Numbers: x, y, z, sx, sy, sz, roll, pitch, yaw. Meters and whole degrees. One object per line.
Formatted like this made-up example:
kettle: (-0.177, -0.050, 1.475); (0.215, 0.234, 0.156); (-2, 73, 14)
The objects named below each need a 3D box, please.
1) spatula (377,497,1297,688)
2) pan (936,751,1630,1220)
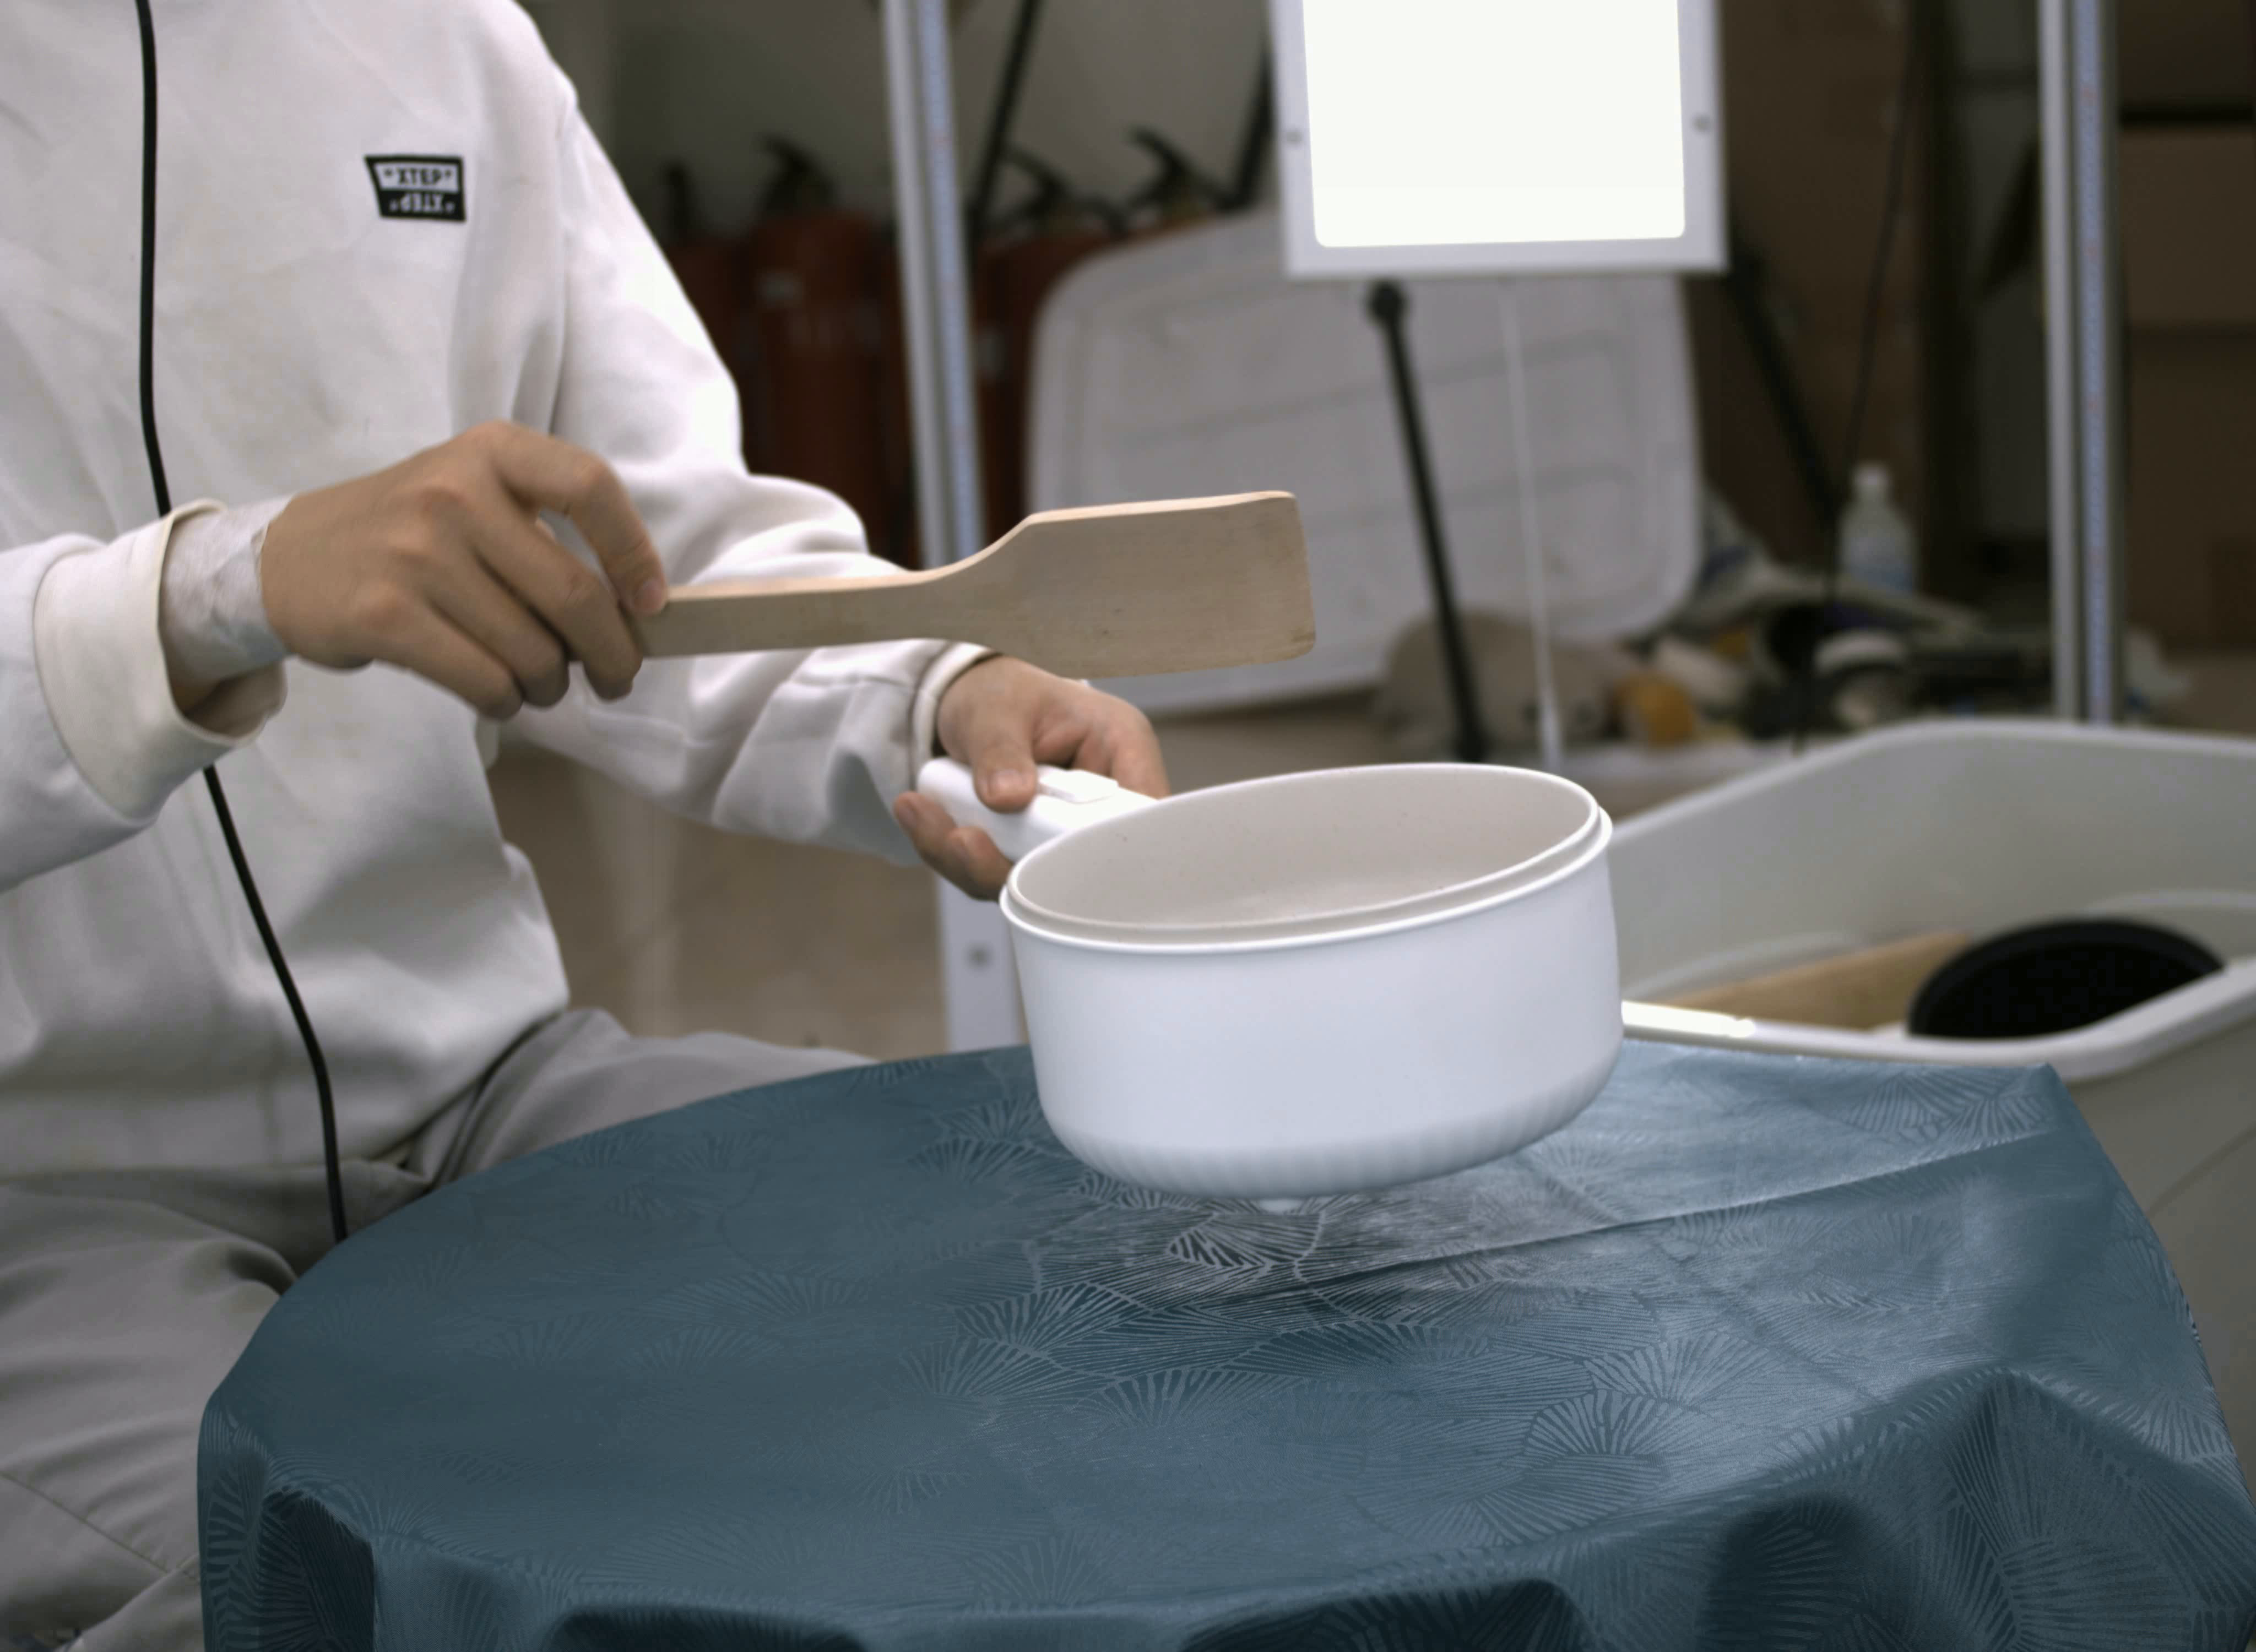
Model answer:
spatula: (-0.094, -0.066, 1.732); (0.294, 0.072, 0.010); (-4, 47, 10)
pan: (0.030, 0.045, 1.870); (0.197, 0.102, 0.361); (-16, 15, -24)
